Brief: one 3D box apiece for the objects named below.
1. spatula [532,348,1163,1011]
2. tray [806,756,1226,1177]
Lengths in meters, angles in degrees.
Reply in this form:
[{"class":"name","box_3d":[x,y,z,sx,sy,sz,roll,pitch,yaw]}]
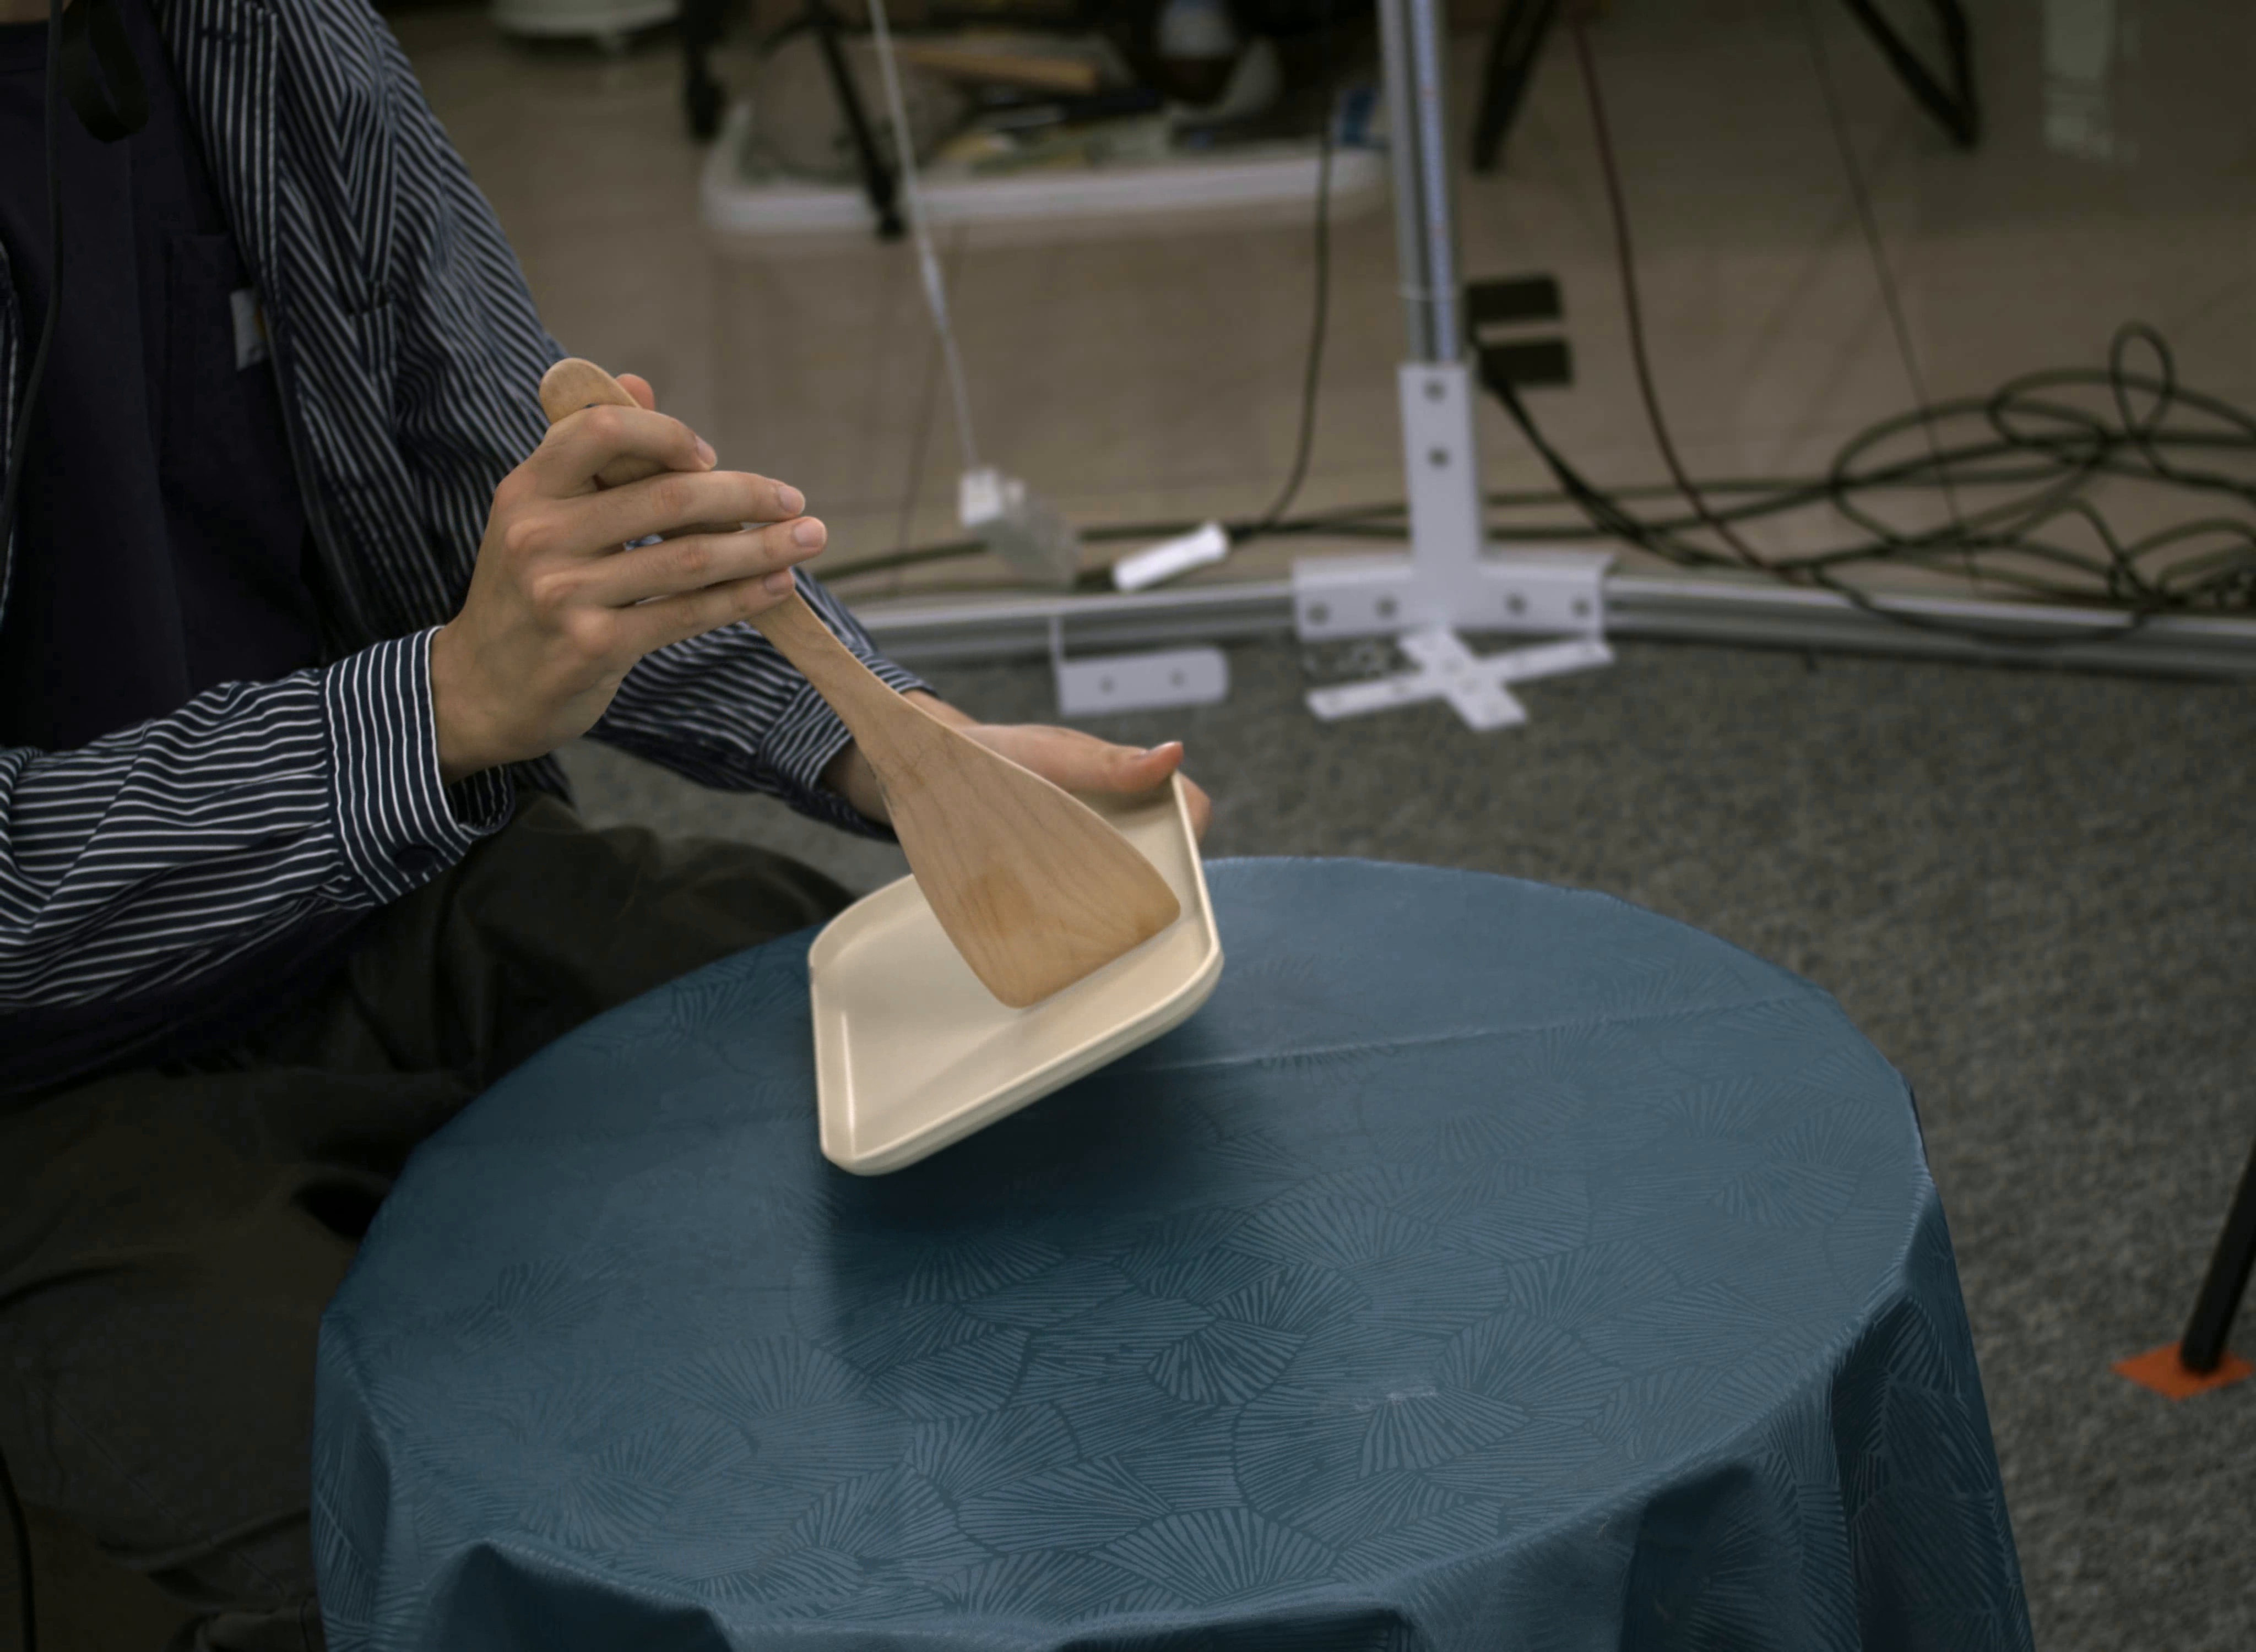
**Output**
[{"class":"spatula","box_3d":[-0.111,-0.055,2.098,0.080,0.331,0.016,-39,24,6]},{"class":"tray","box_3d":[-0.044,0.054,2.202,0.171,0.018,0.236,-27,23,7]}]
